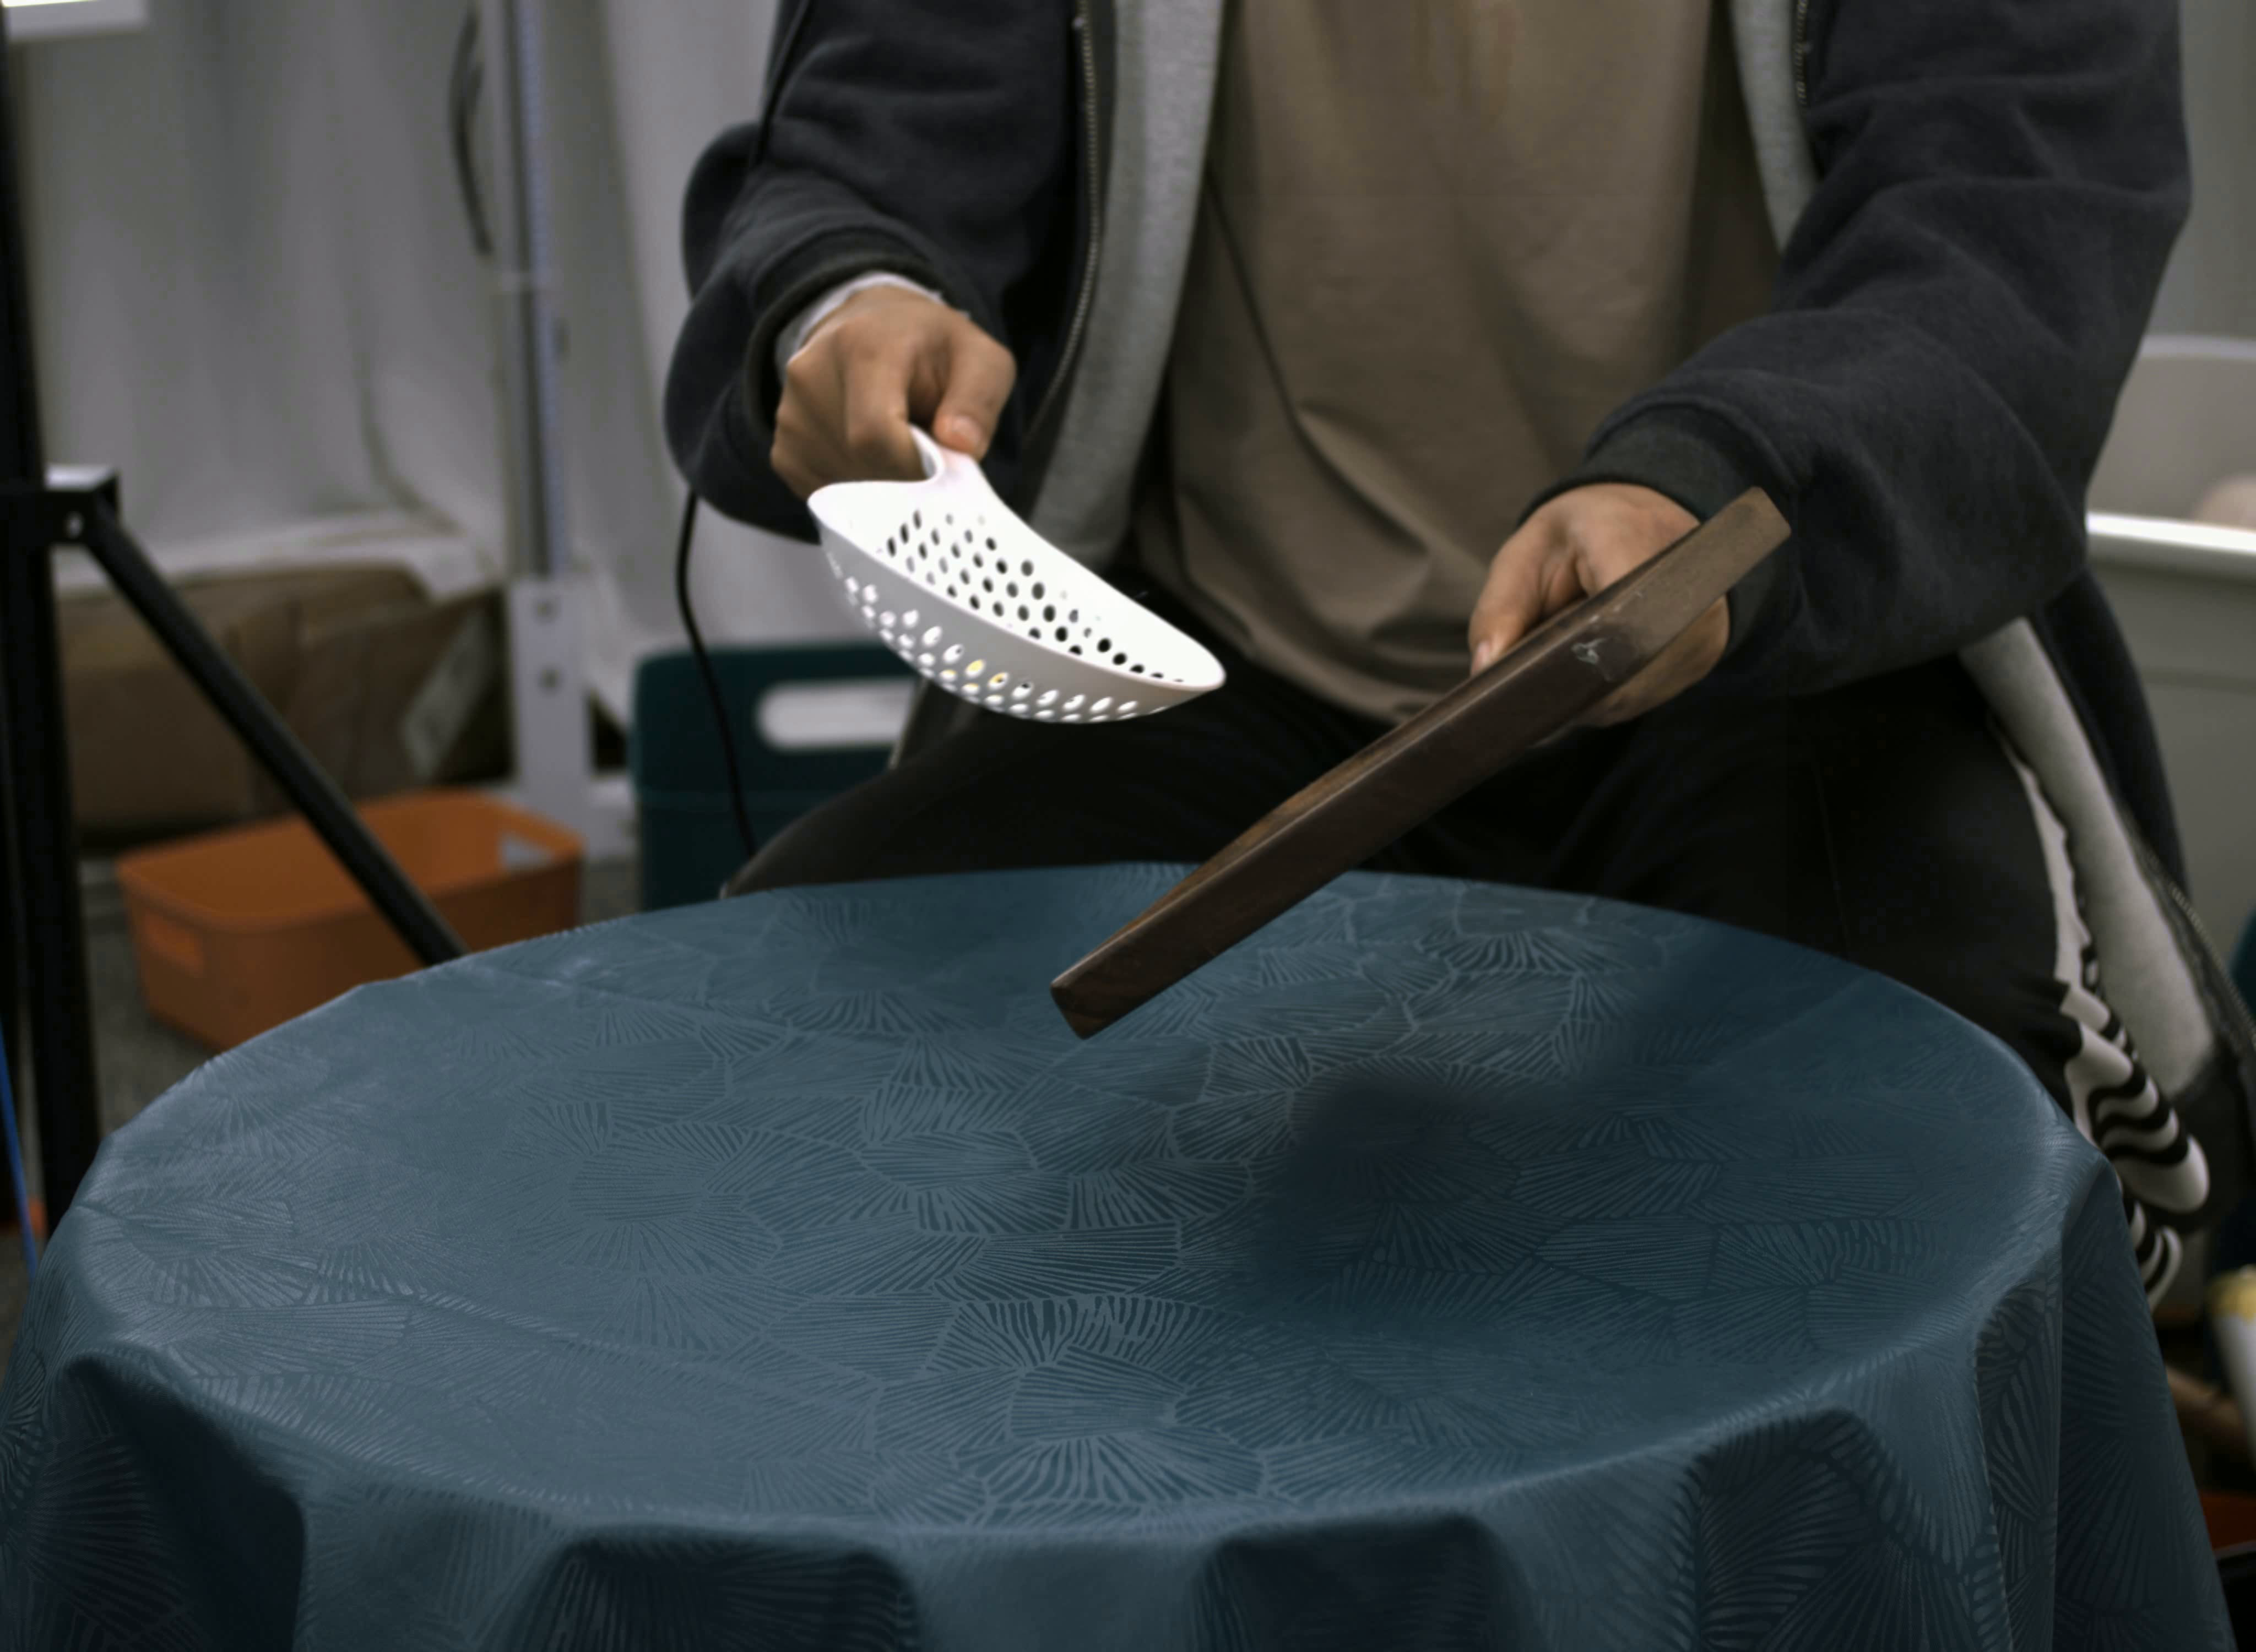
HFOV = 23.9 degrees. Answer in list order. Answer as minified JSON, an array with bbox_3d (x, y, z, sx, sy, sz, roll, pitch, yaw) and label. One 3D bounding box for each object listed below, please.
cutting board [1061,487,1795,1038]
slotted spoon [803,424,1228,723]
[{"bbox_3d":[0.105,-0.032,1.582,0.203,0.023,0.348,-33,1,20],"label":"cutting board"},{"bbox_3d":[-0.058,-0.093,1.702,0.135,0.050,0.352,19,15,-15],"label":"slotted spoon"}]
